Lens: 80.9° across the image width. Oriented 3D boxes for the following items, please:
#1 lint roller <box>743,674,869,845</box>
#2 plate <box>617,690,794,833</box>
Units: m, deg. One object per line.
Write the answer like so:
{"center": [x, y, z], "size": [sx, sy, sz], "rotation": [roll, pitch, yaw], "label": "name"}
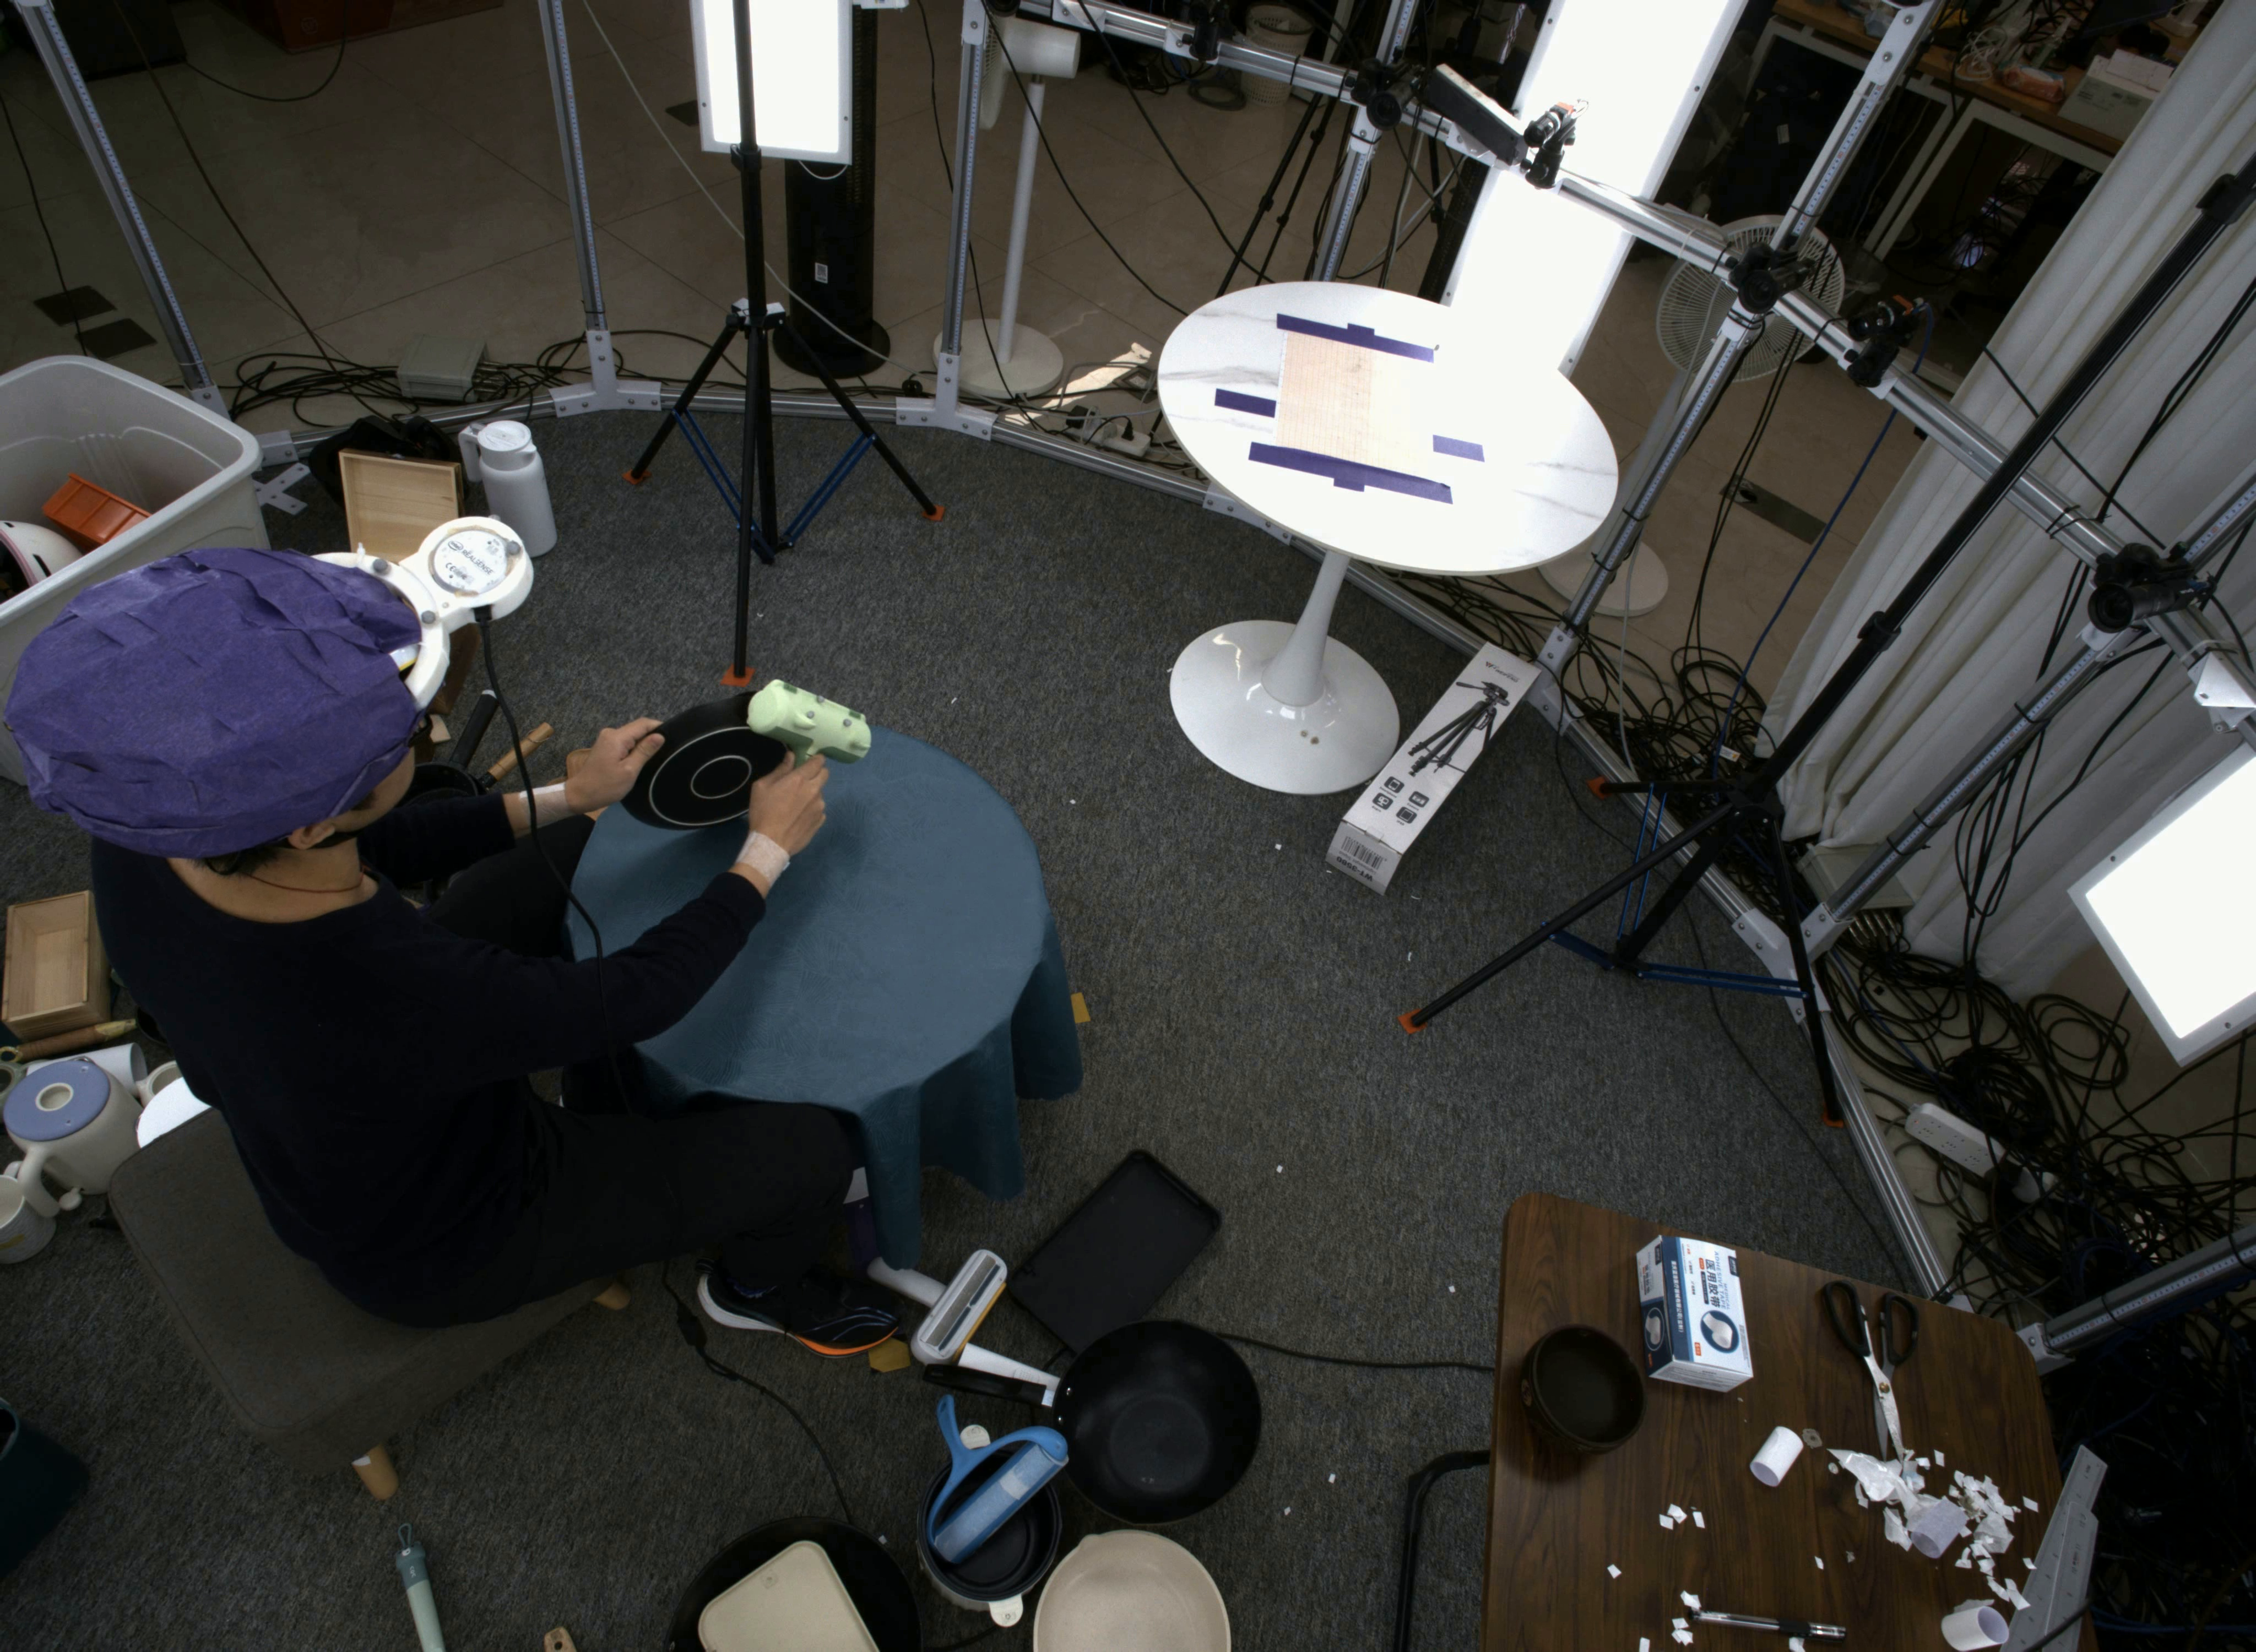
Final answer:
{"center": [-0.387, -0.071, 1.580], "size": [0.080, 0.203, 0.184], "rotation": [-1, 81, 23], "label": "lint roller"}
{"center": [-0.507, -0.070, 1.586], "size": [0.245, 0.249, 0.023], "rotation": [-20, 60, -26], "label": "plate"}
